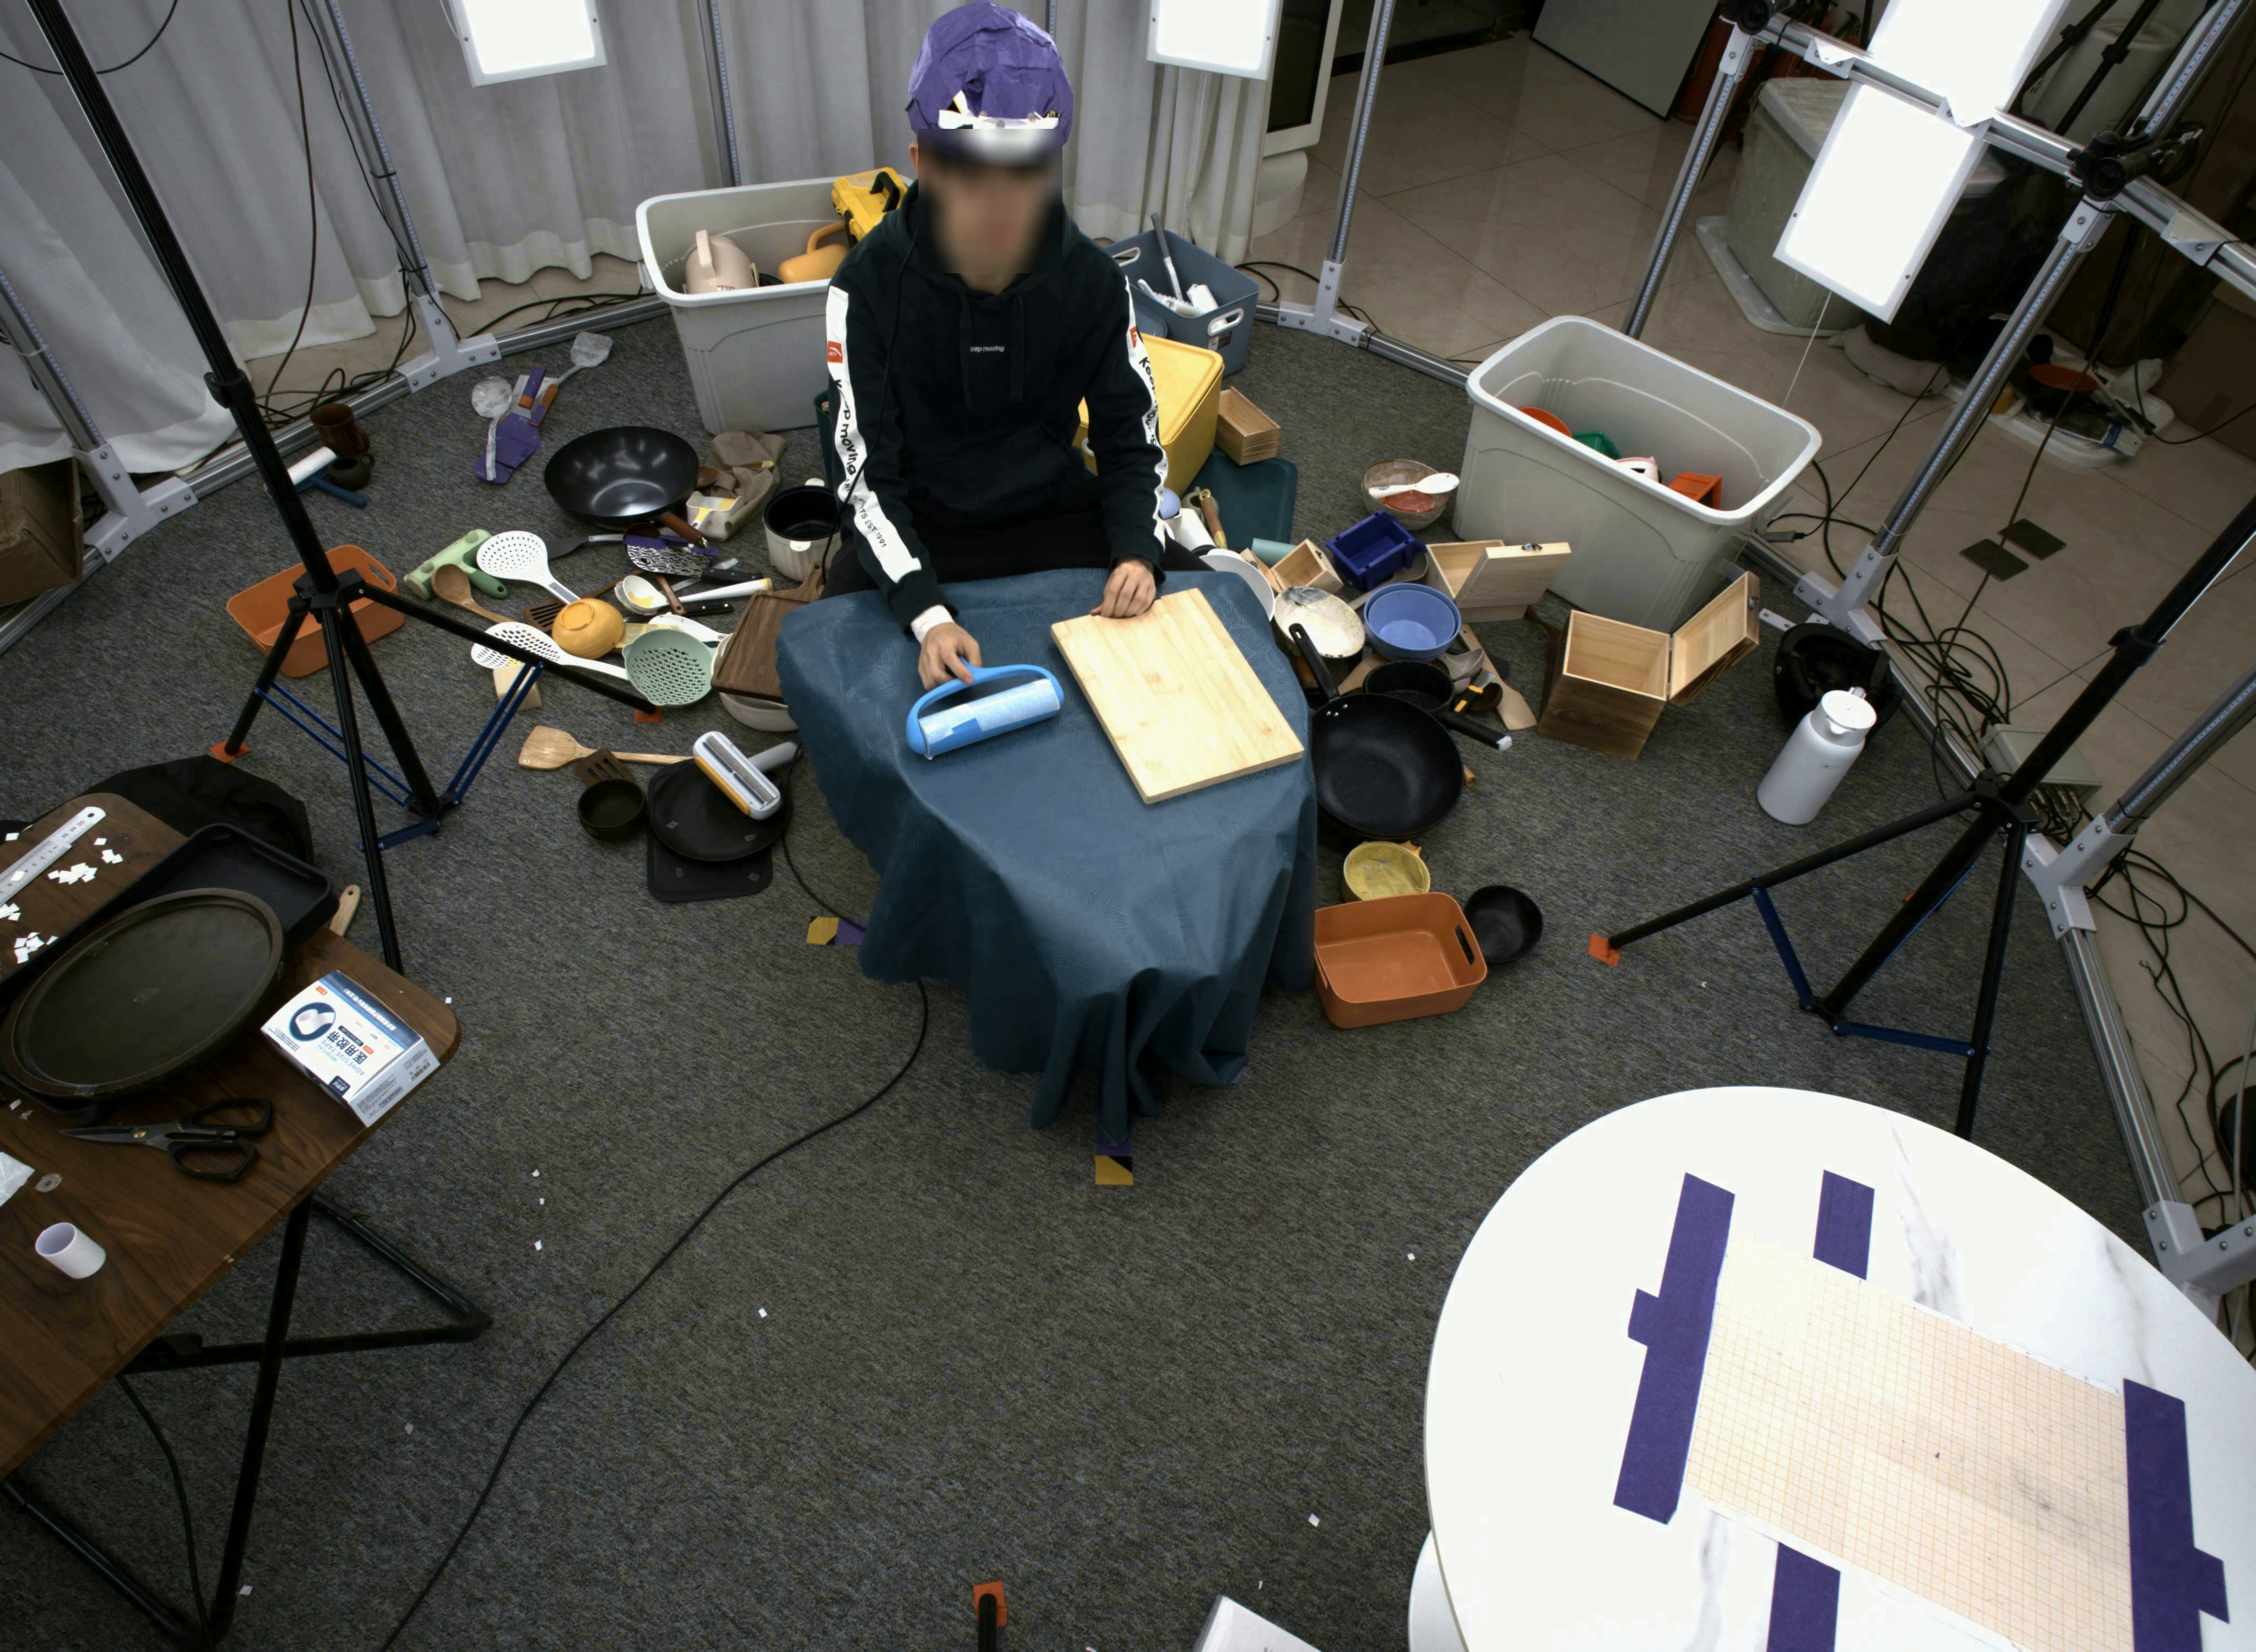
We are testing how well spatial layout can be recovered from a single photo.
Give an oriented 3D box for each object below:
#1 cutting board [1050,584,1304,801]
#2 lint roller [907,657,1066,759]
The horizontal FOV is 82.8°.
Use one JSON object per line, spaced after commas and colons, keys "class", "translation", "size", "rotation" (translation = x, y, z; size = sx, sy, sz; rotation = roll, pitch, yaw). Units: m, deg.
{"class": "cutting board", "translation": [0.064, -0.197, 1.821], "size": [0.251, 0.023, 0.356], "rotation": [-17, 55, -18]}
{"class": "lint roller", "translation": [-0.220, -0.189, 1.780], "size": [0.229, 0.066, 0.184], "rotation": [-24, 55, -21]}
